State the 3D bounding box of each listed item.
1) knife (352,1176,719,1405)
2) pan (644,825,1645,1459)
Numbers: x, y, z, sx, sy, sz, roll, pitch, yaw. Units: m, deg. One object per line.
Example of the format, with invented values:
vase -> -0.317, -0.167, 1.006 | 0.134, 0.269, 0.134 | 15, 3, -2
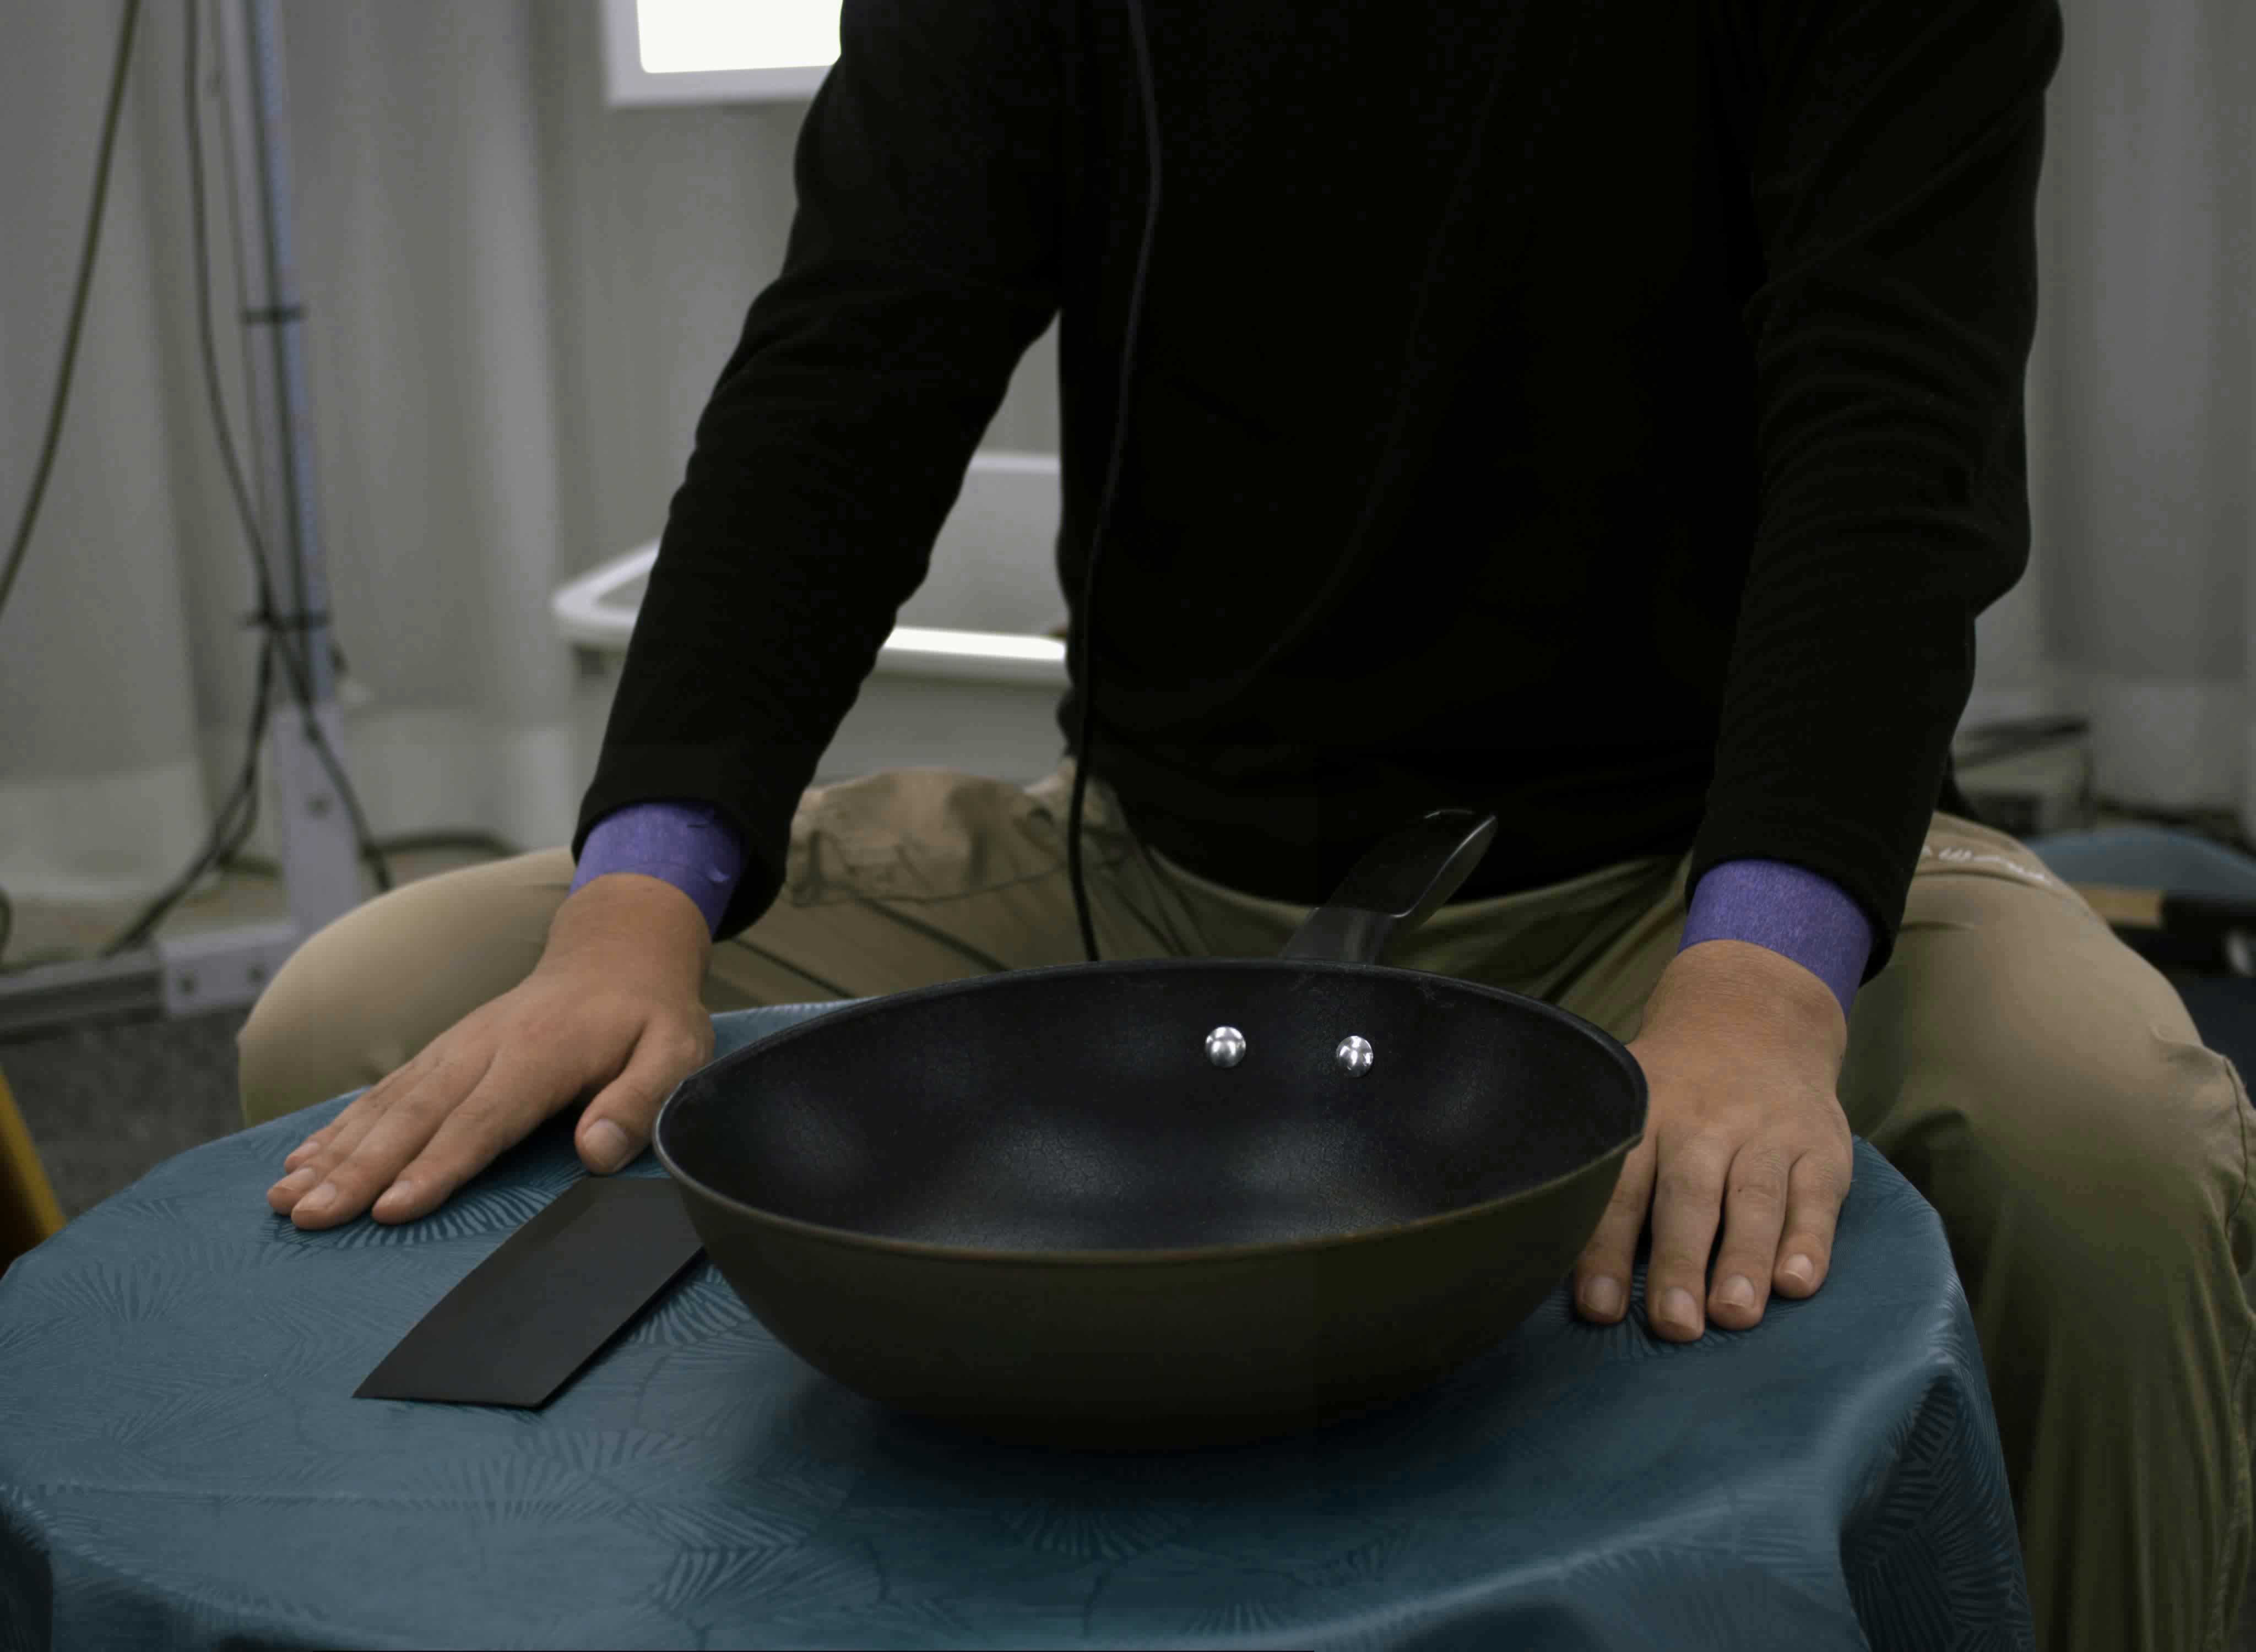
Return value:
knife -> -0.147, 0.121, 1.693 | 0.081, 0.021, 0.303 | 3, 18, 23
pan -> 0.037, 0.092, 1.636 | 0.288, 0.086, 0.464 | 3, 15, 20
